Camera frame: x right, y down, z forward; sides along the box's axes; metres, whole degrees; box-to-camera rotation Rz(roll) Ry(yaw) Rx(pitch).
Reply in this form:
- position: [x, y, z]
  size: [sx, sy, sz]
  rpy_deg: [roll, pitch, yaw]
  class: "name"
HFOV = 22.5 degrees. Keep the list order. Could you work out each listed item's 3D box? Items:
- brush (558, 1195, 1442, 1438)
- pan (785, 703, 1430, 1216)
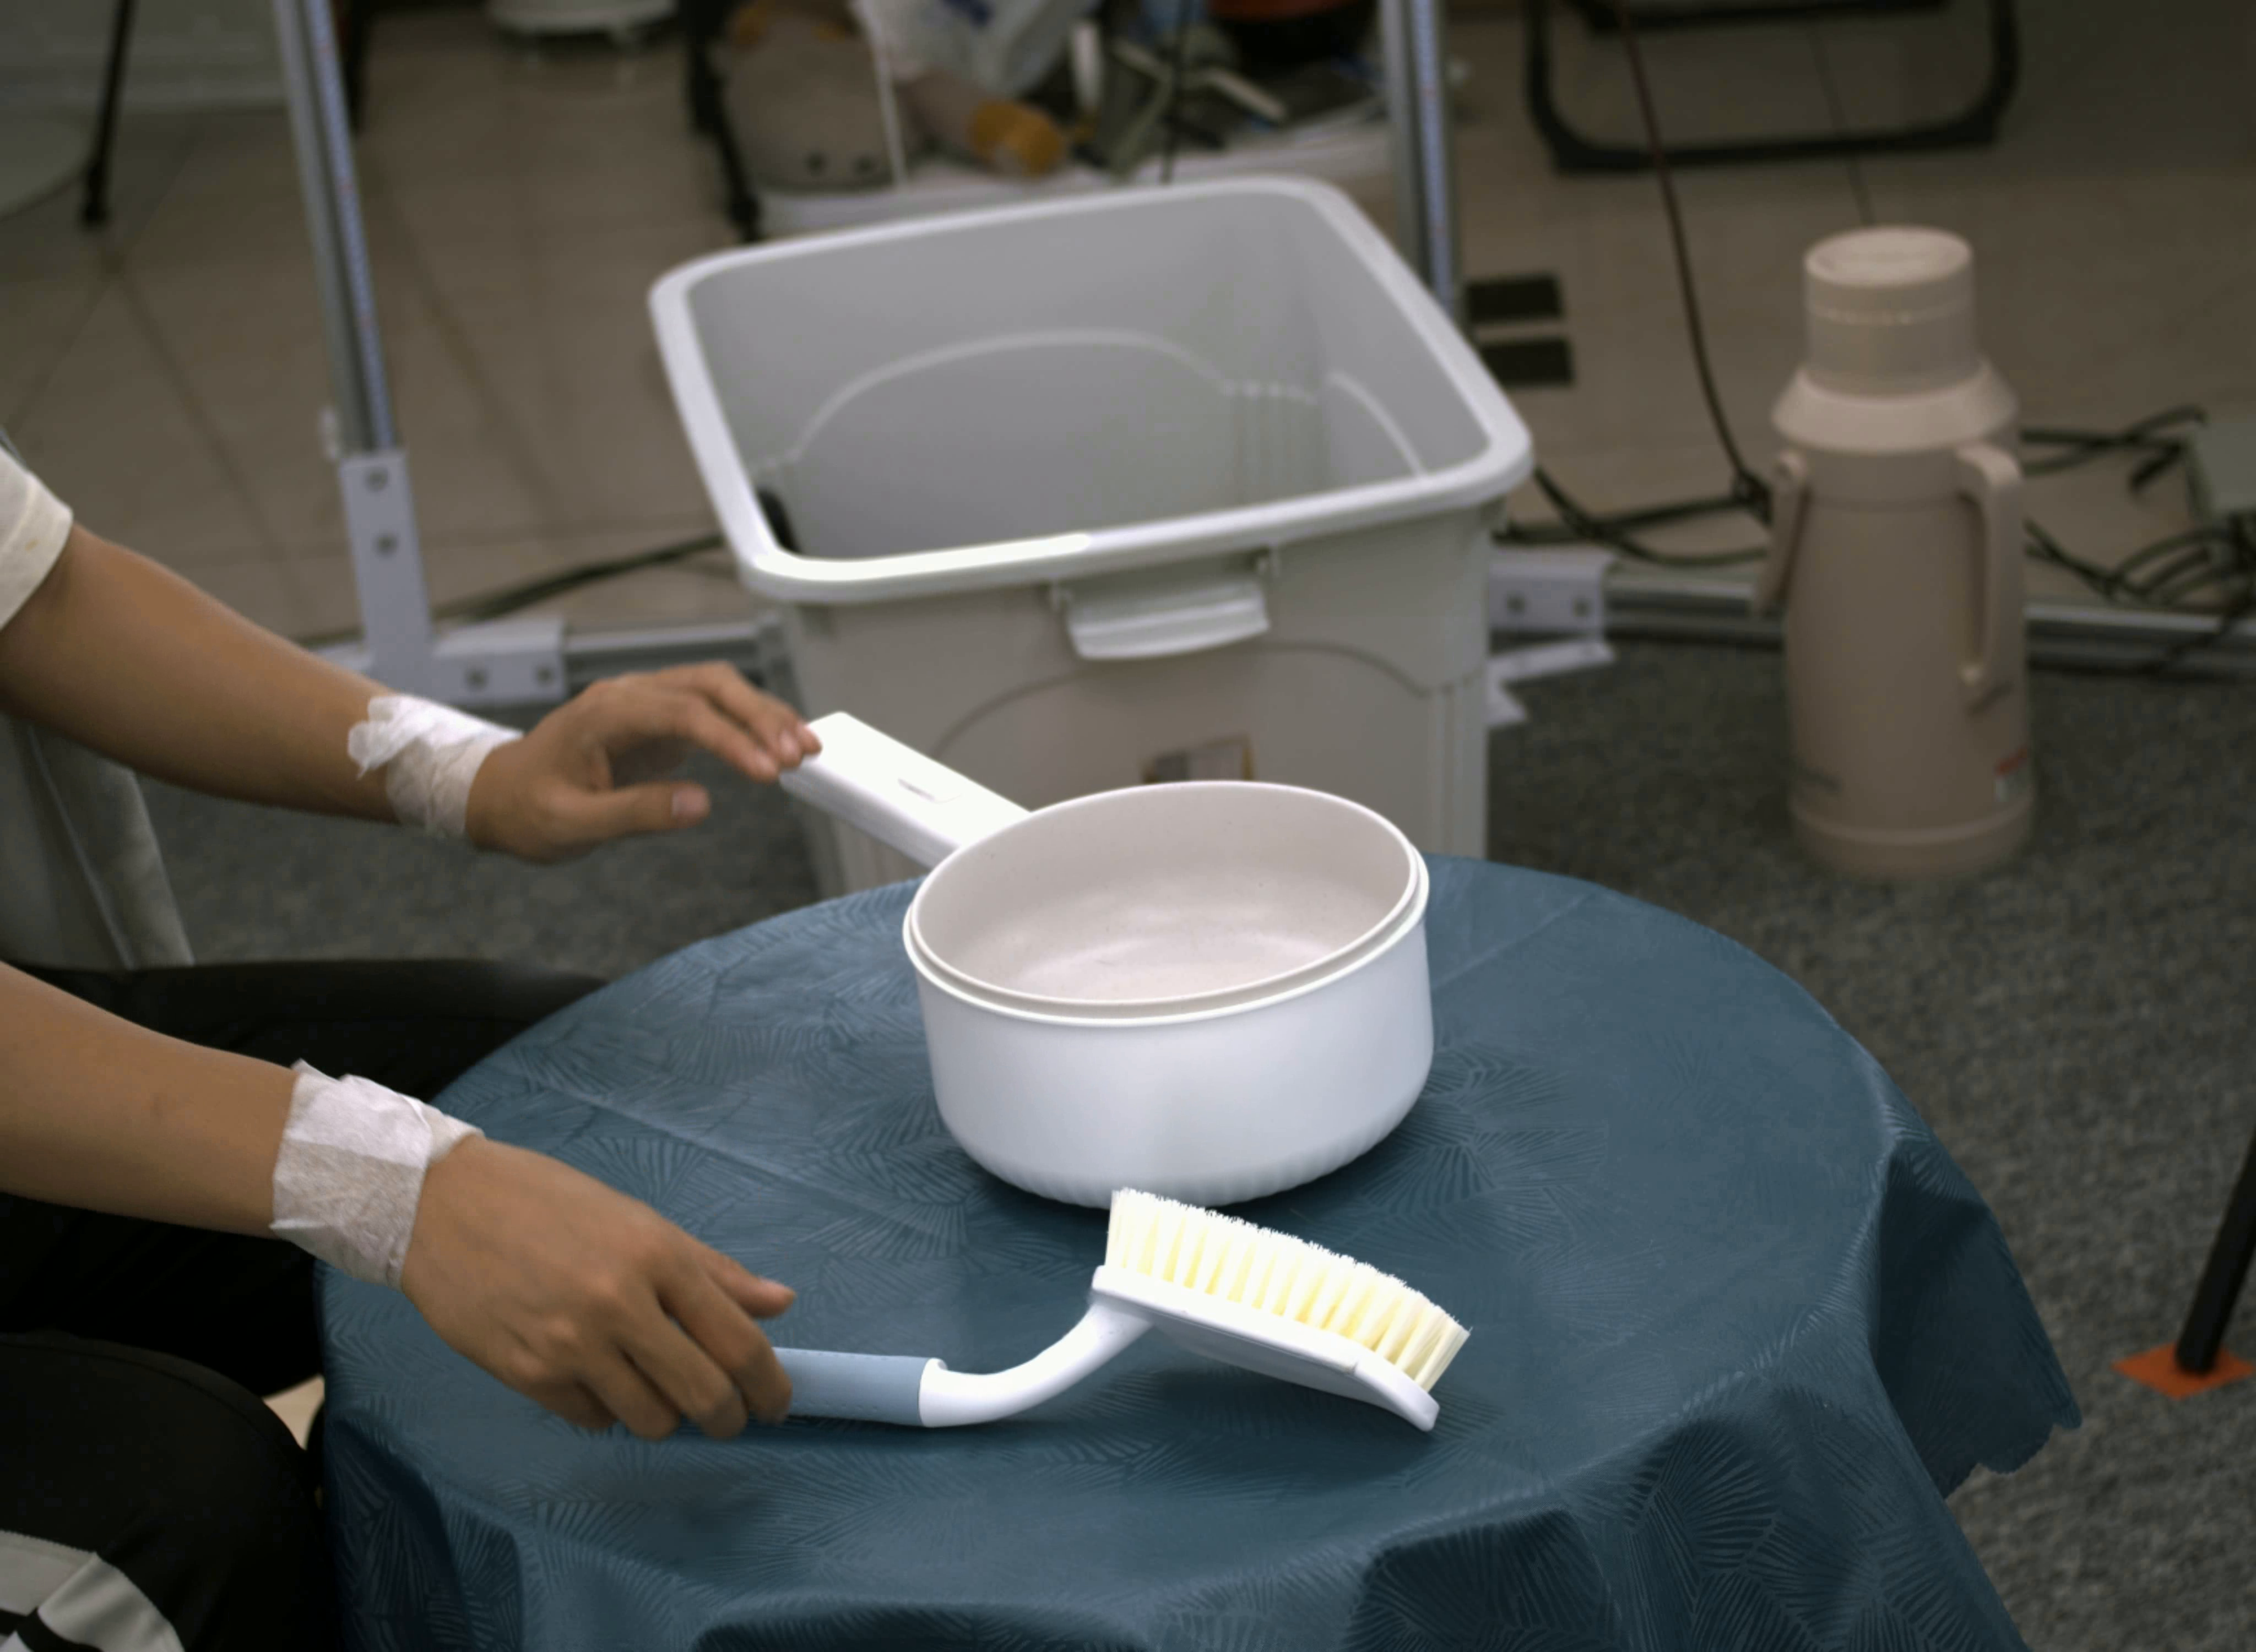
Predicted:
- position: [-0.047, 0.163, 2.010]
  size: [0.324, 0.084, 0.083]
  rpy_deg: [3, 34, 17]
  class: "brush"
- position: [-0.026, 0.046, 2.234]
  size: [0.200, 0.104, 0.351]
  rpy_deg: [-22, 29, -29]
  class: "pan"
